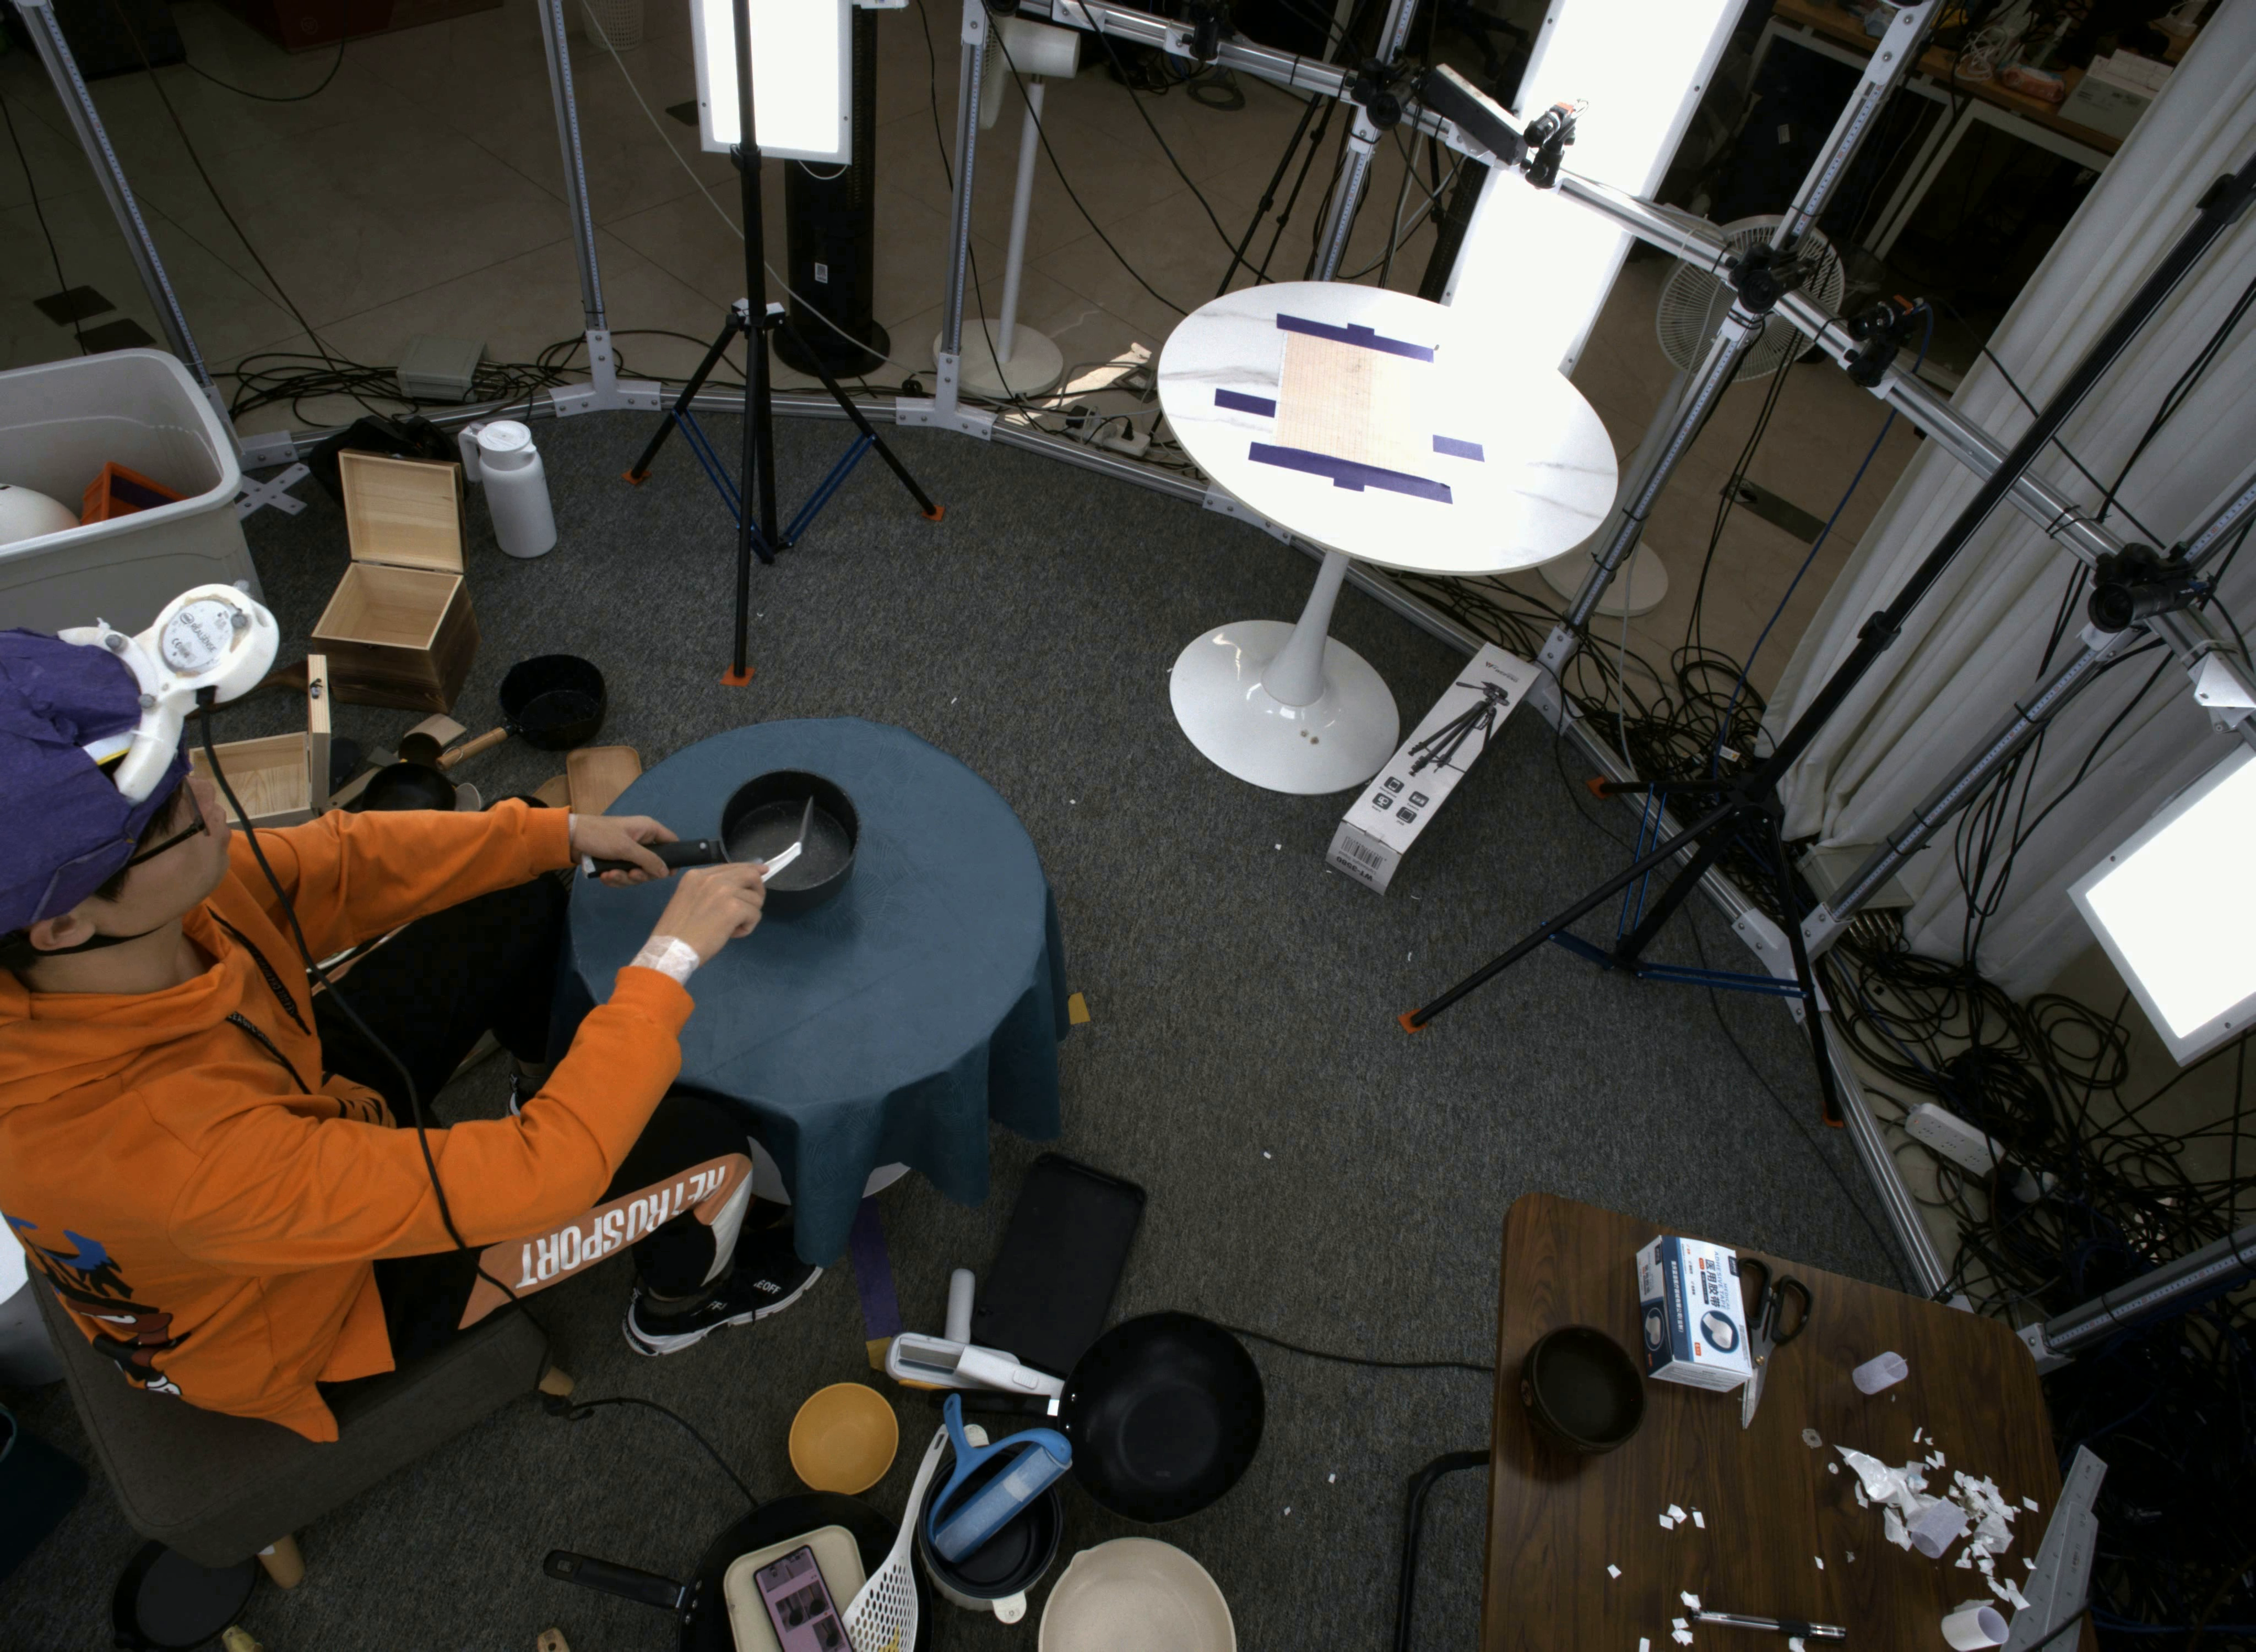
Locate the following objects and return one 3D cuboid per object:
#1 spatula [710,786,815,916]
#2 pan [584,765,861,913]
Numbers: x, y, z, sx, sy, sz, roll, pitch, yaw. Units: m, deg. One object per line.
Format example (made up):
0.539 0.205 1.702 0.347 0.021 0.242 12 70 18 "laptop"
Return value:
-0.393 0.026 1.448 0.032 0.060 0.284 4 21 6 "spatula"
-0.491 0.028 1.563 0.331 0.087 0.169 -8 64 -23 "pan"
